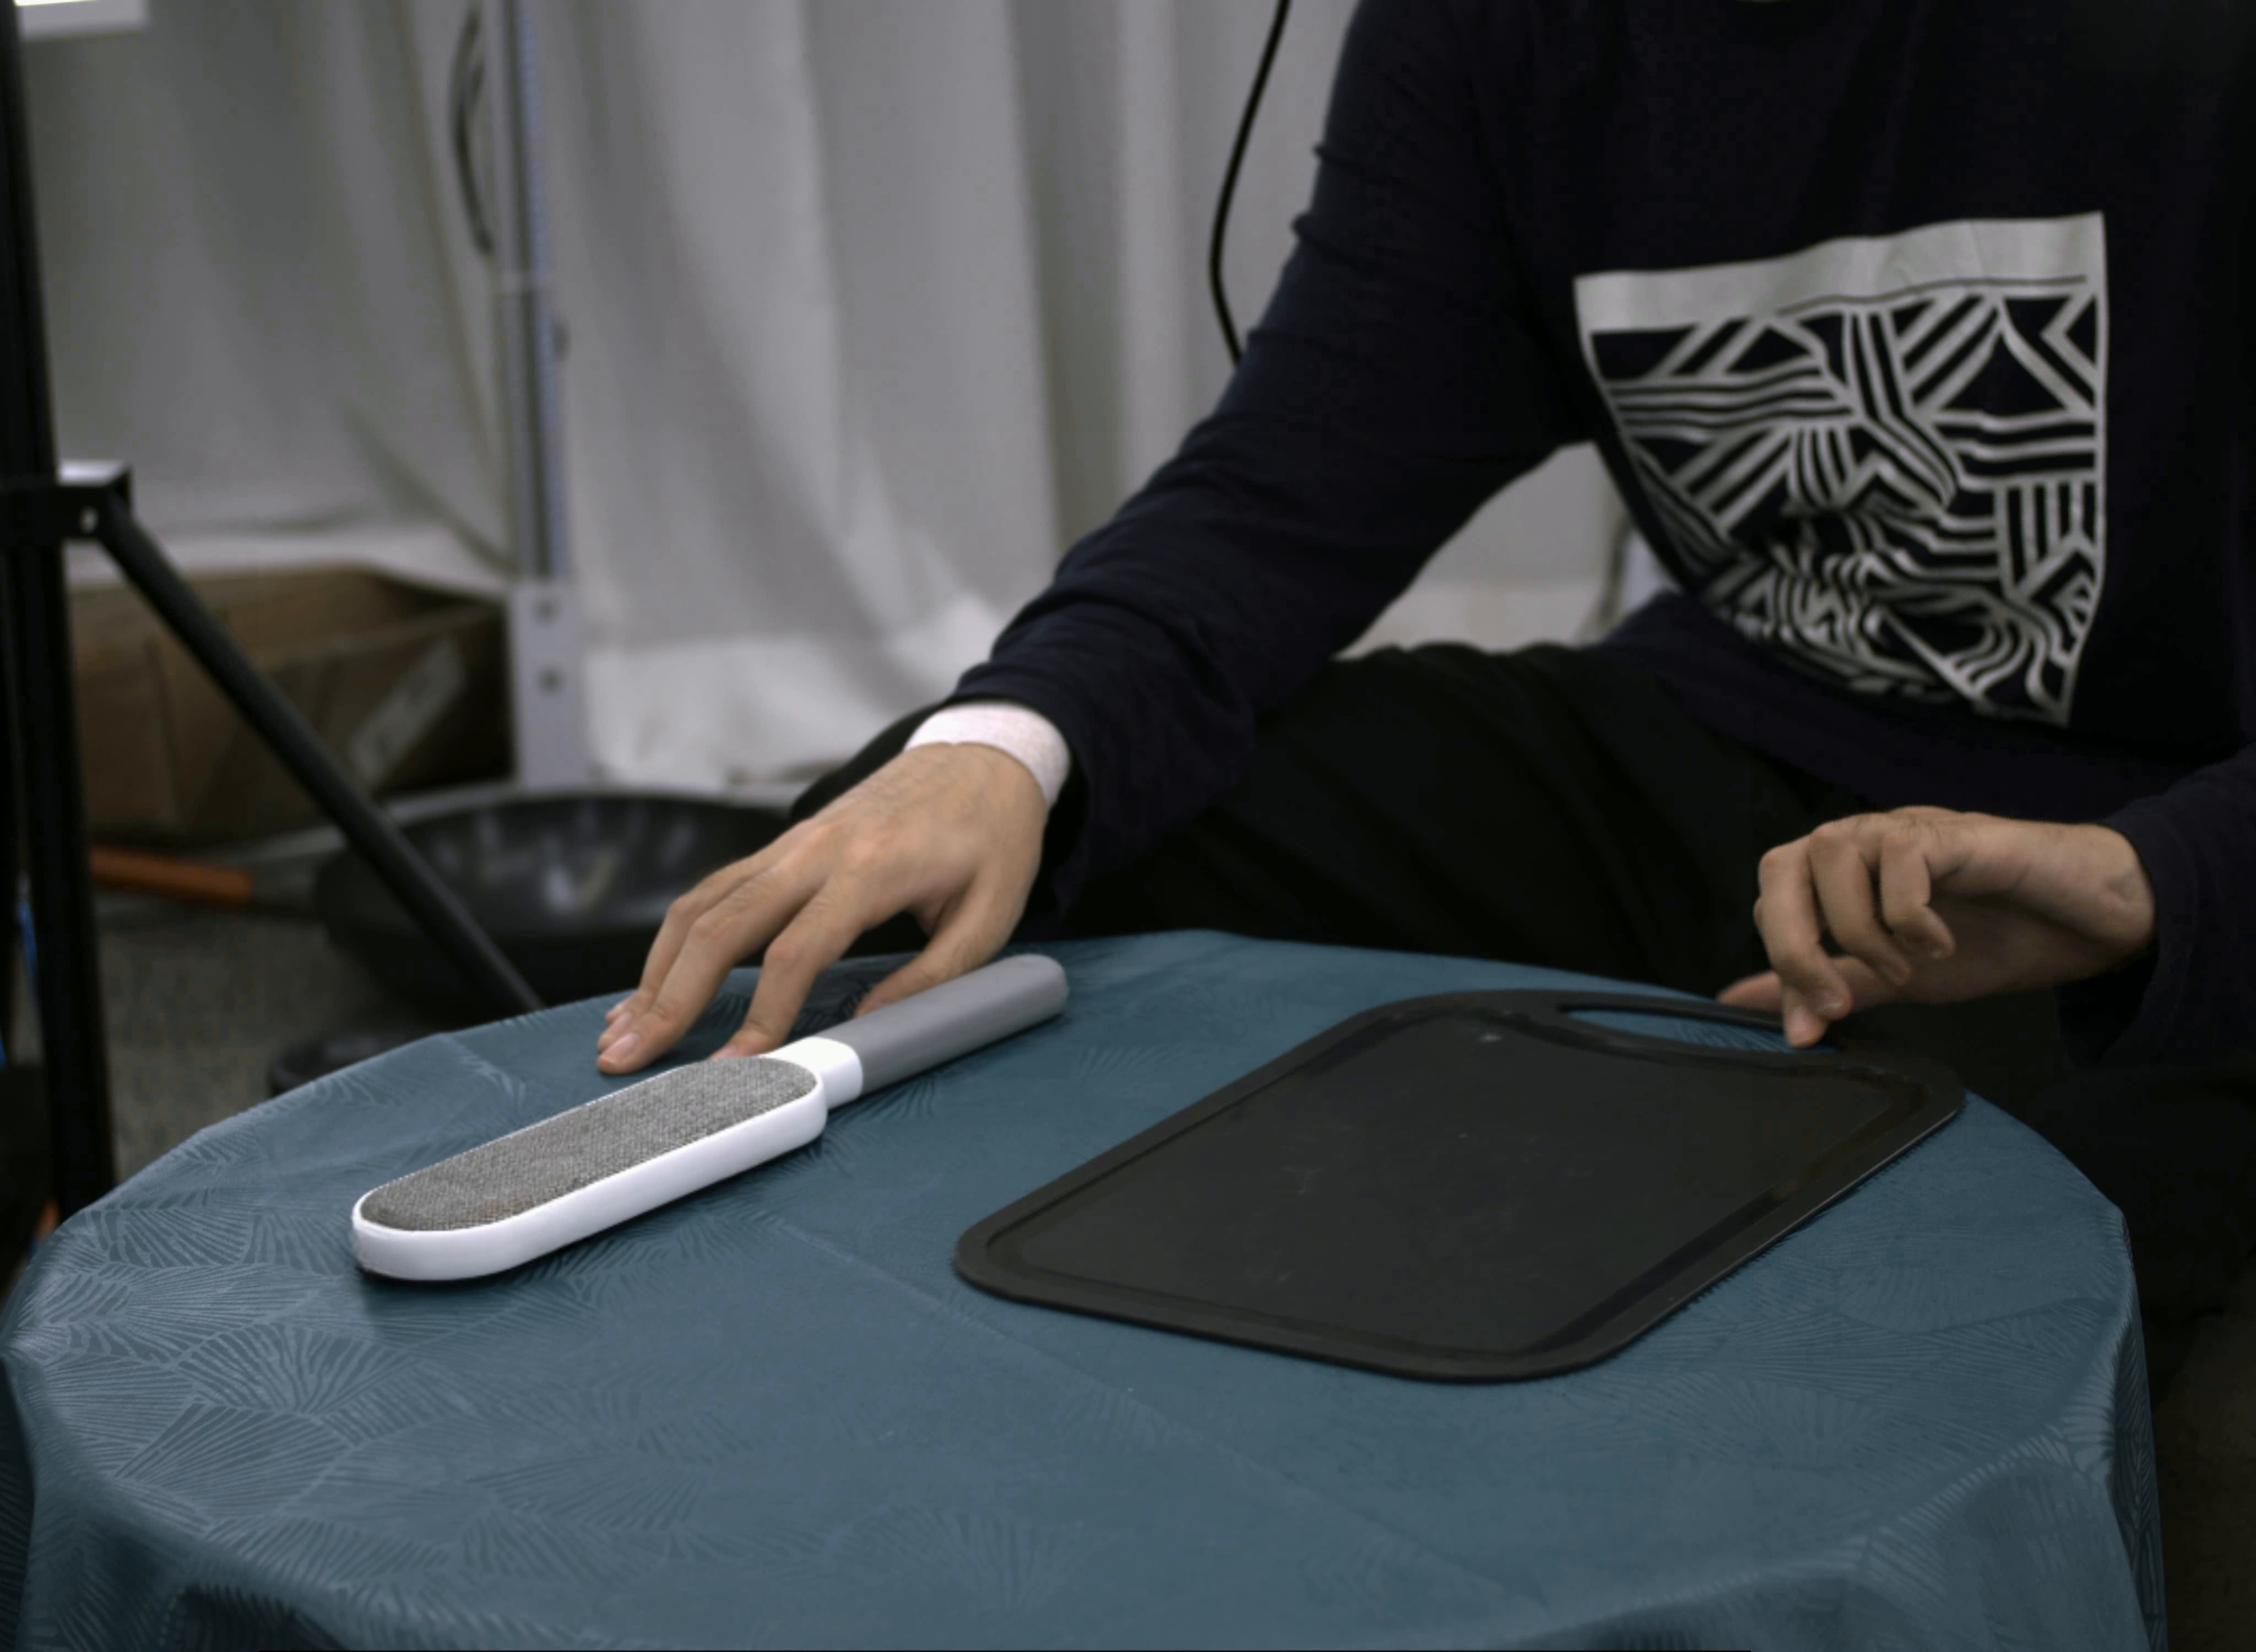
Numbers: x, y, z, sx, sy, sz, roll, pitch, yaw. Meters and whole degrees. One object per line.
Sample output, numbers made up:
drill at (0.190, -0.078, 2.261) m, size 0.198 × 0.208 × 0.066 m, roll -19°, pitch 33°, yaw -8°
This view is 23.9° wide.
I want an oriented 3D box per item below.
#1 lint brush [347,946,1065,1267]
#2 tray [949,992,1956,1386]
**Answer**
lint brush at (-0.118, 0.083, 1.620) m, size 0.061 × 0.021 × 0.302 m, roll 4°, pitch 16°, yaw 39°
tray at (0.105, 0.098, 1.570) m, size 0.215 × 0.010 × 0.319 m, roll 8°, pitch 19°, yaw 33°
